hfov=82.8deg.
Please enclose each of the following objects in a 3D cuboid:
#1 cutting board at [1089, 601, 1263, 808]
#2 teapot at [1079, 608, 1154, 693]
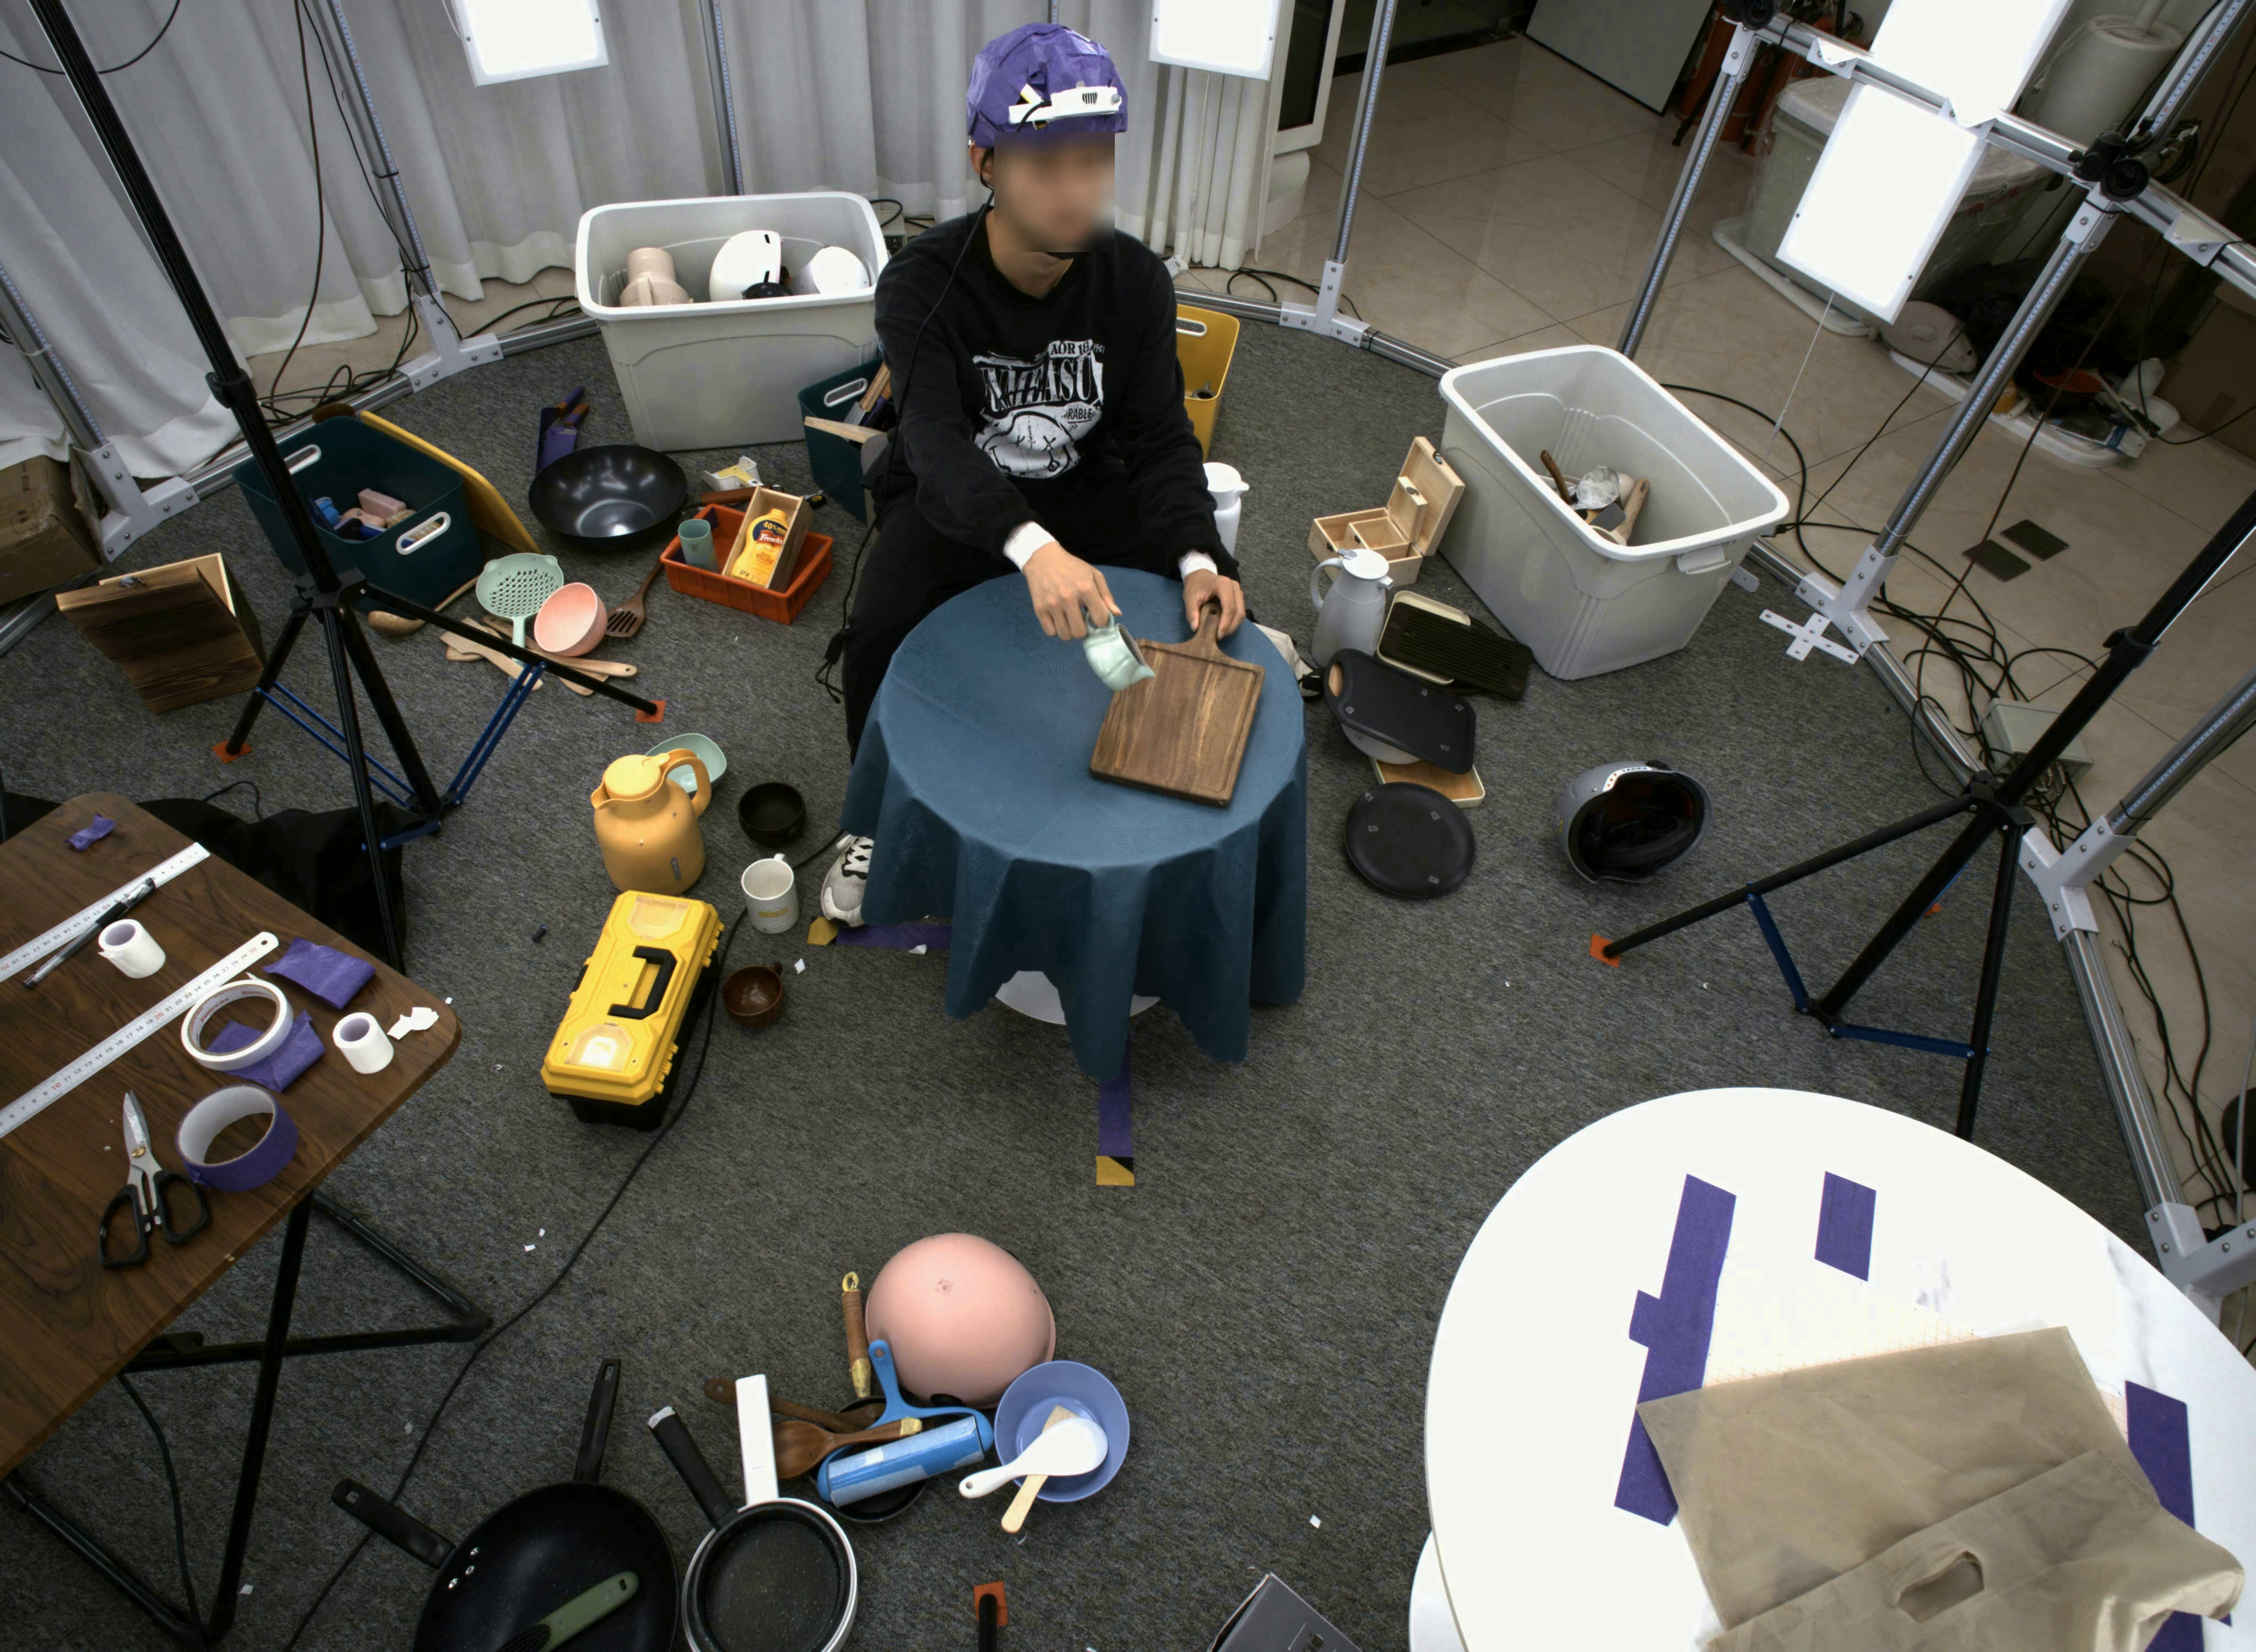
[{"bbox_3d":[0.082,-0.187,1.803,0.201,0.022,0.360,13,55,7],"label":"cutting board"},{"bbox_3d":[-0.024,-0.228,1.682,0.061,0.134,0.098,-29,37,17],"label":"teapot"}]
